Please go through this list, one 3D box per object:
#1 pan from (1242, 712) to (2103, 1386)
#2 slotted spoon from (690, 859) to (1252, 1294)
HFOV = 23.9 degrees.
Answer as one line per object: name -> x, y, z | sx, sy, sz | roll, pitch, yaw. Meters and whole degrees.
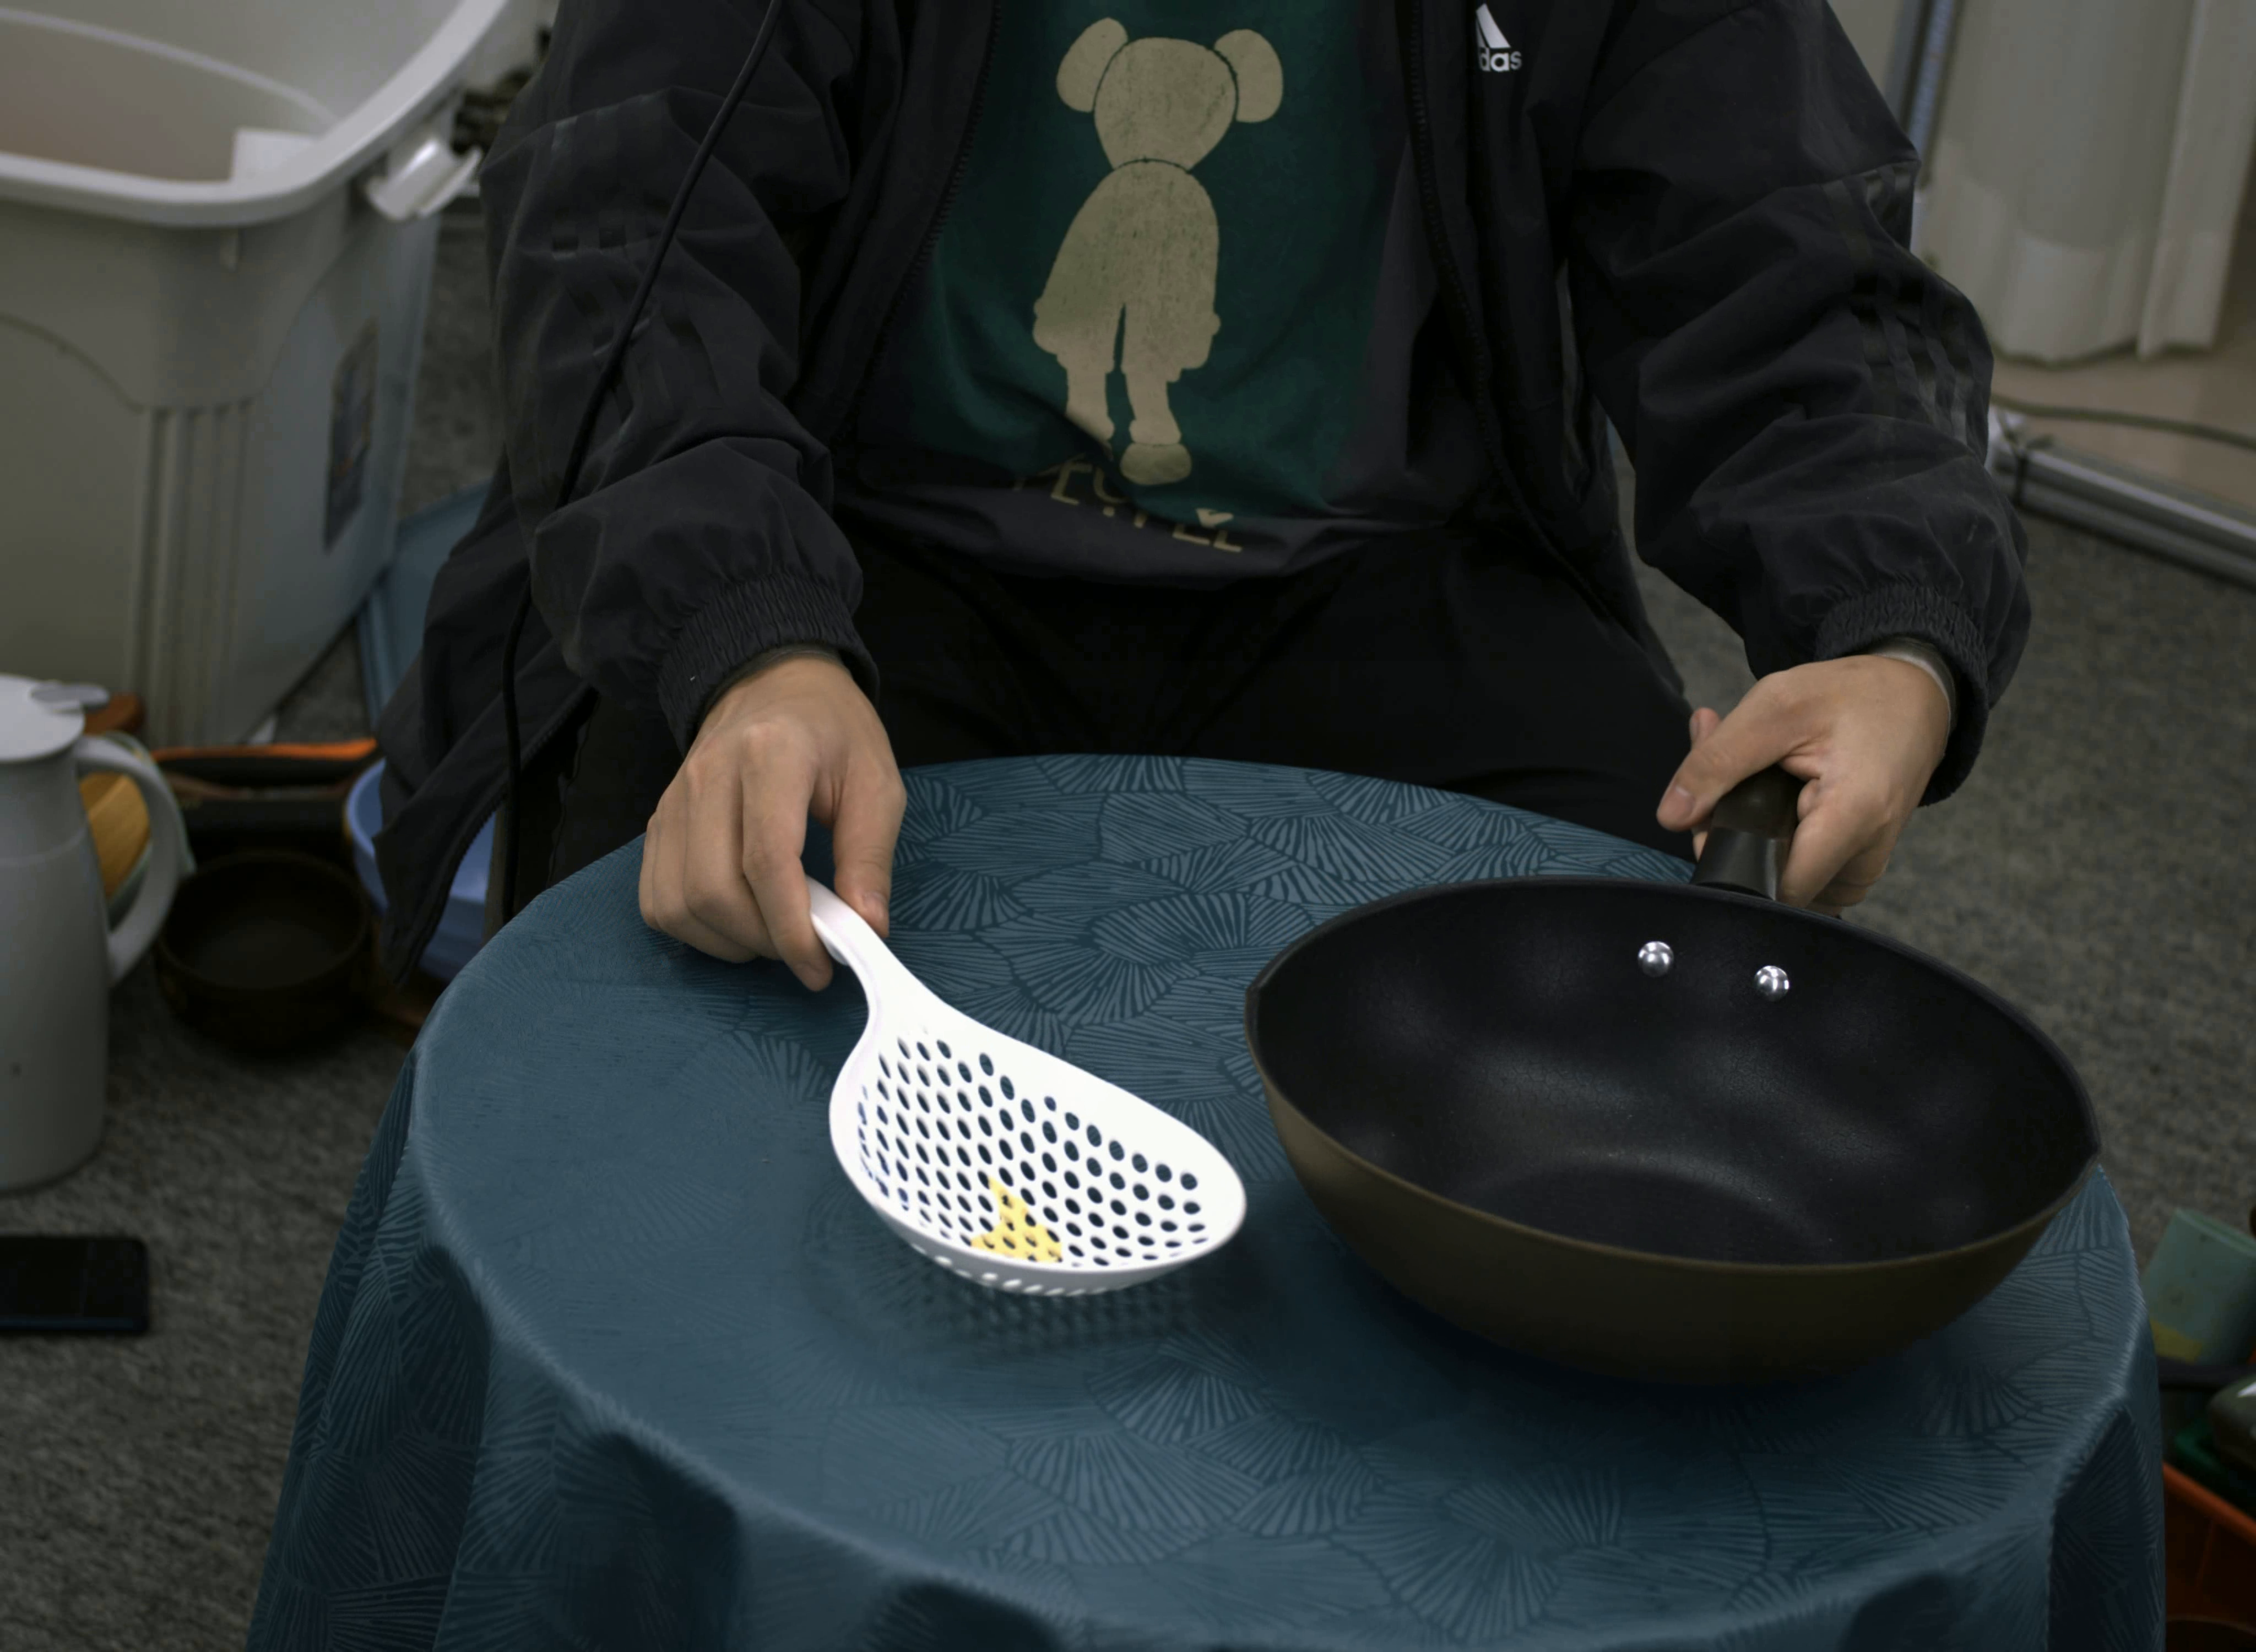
pan -> 0.196, 0.076, 1.853 | 0.288, 0.086, 0.464 | 11, 25, 10
slotted spoon -> -0.076, 0.074, 1.835 | 0.136, 0.050, 0.351 | -4, 30, -25
